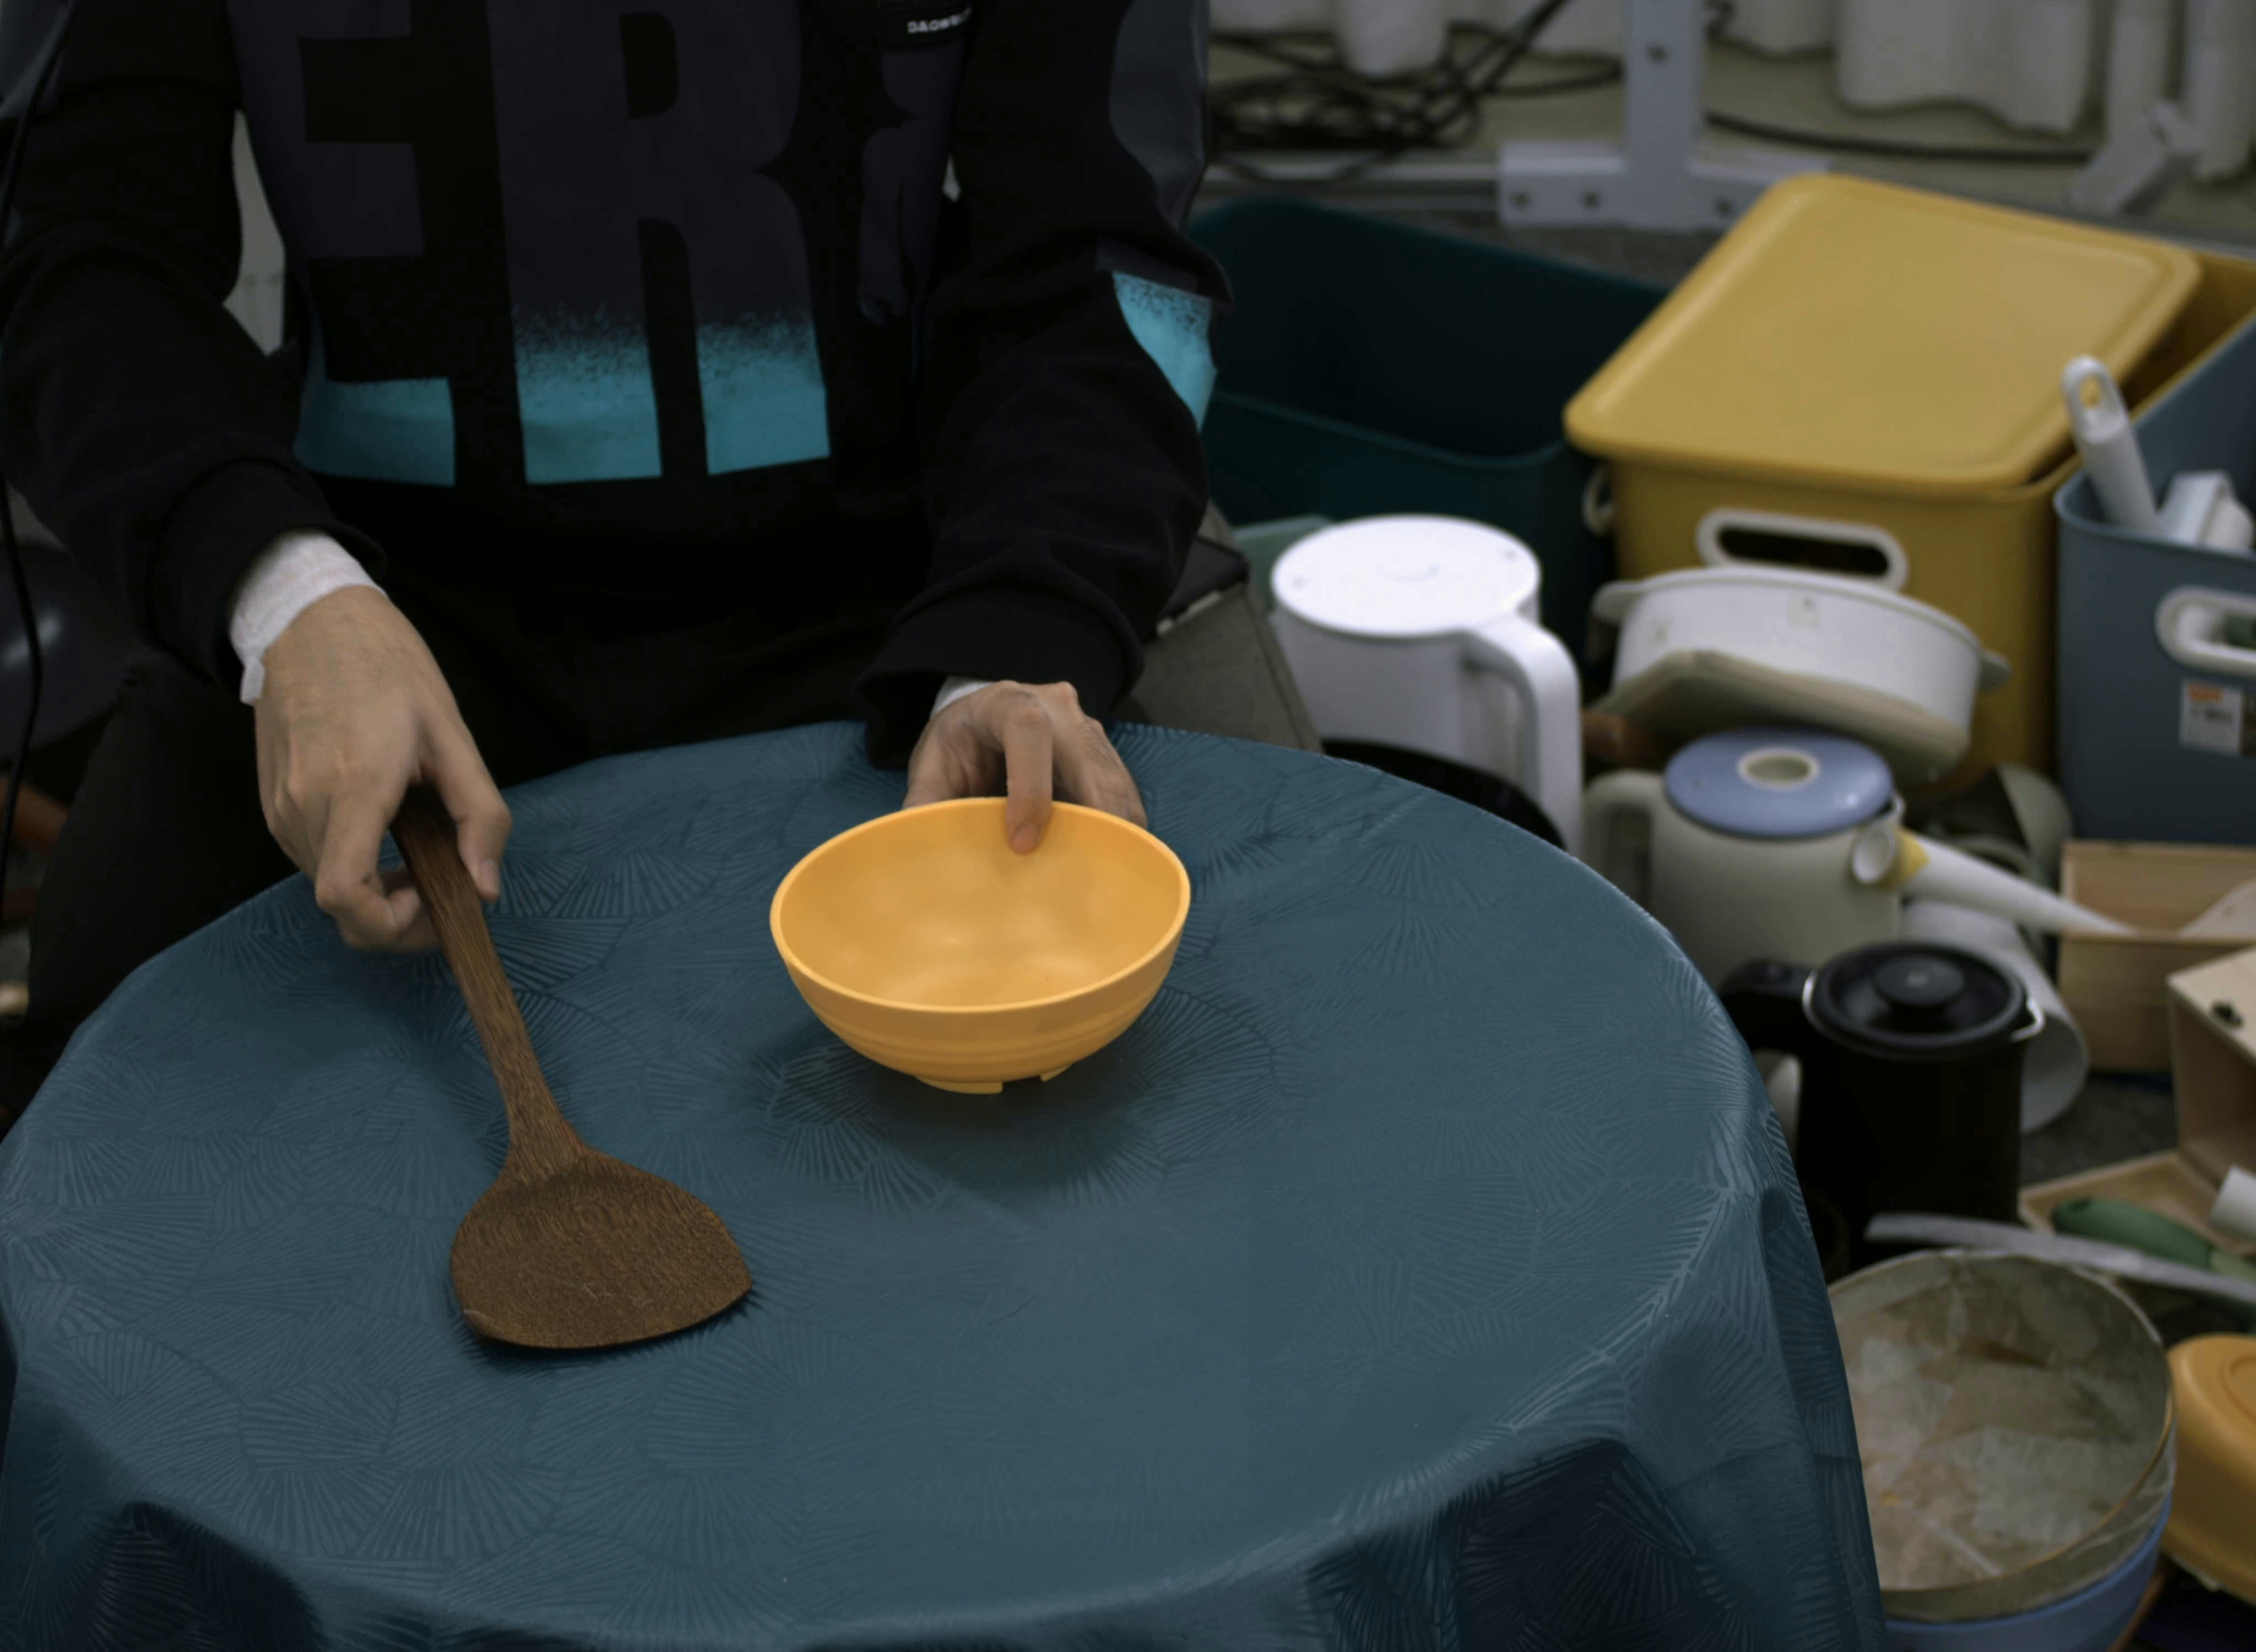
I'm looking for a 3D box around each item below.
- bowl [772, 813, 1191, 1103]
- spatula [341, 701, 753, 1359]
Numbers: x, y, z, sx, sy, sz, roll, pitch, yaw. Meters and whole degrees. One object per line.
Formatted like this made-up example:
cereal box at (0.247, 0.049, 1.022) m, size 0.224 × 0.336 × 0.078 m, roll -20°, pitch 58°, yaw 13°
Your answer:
bowl at (-0.050, 0.054, 1.937) m, size 0.144 × 0.059 × 0.147 m, roll -1°, pitch 27°, yaw 1°
spatula at (-0.220, 0.061, 1.937) m, size 0.096 × 0.015 × 0.391 m, roll -9°, pitch 37°, yaw -16°
